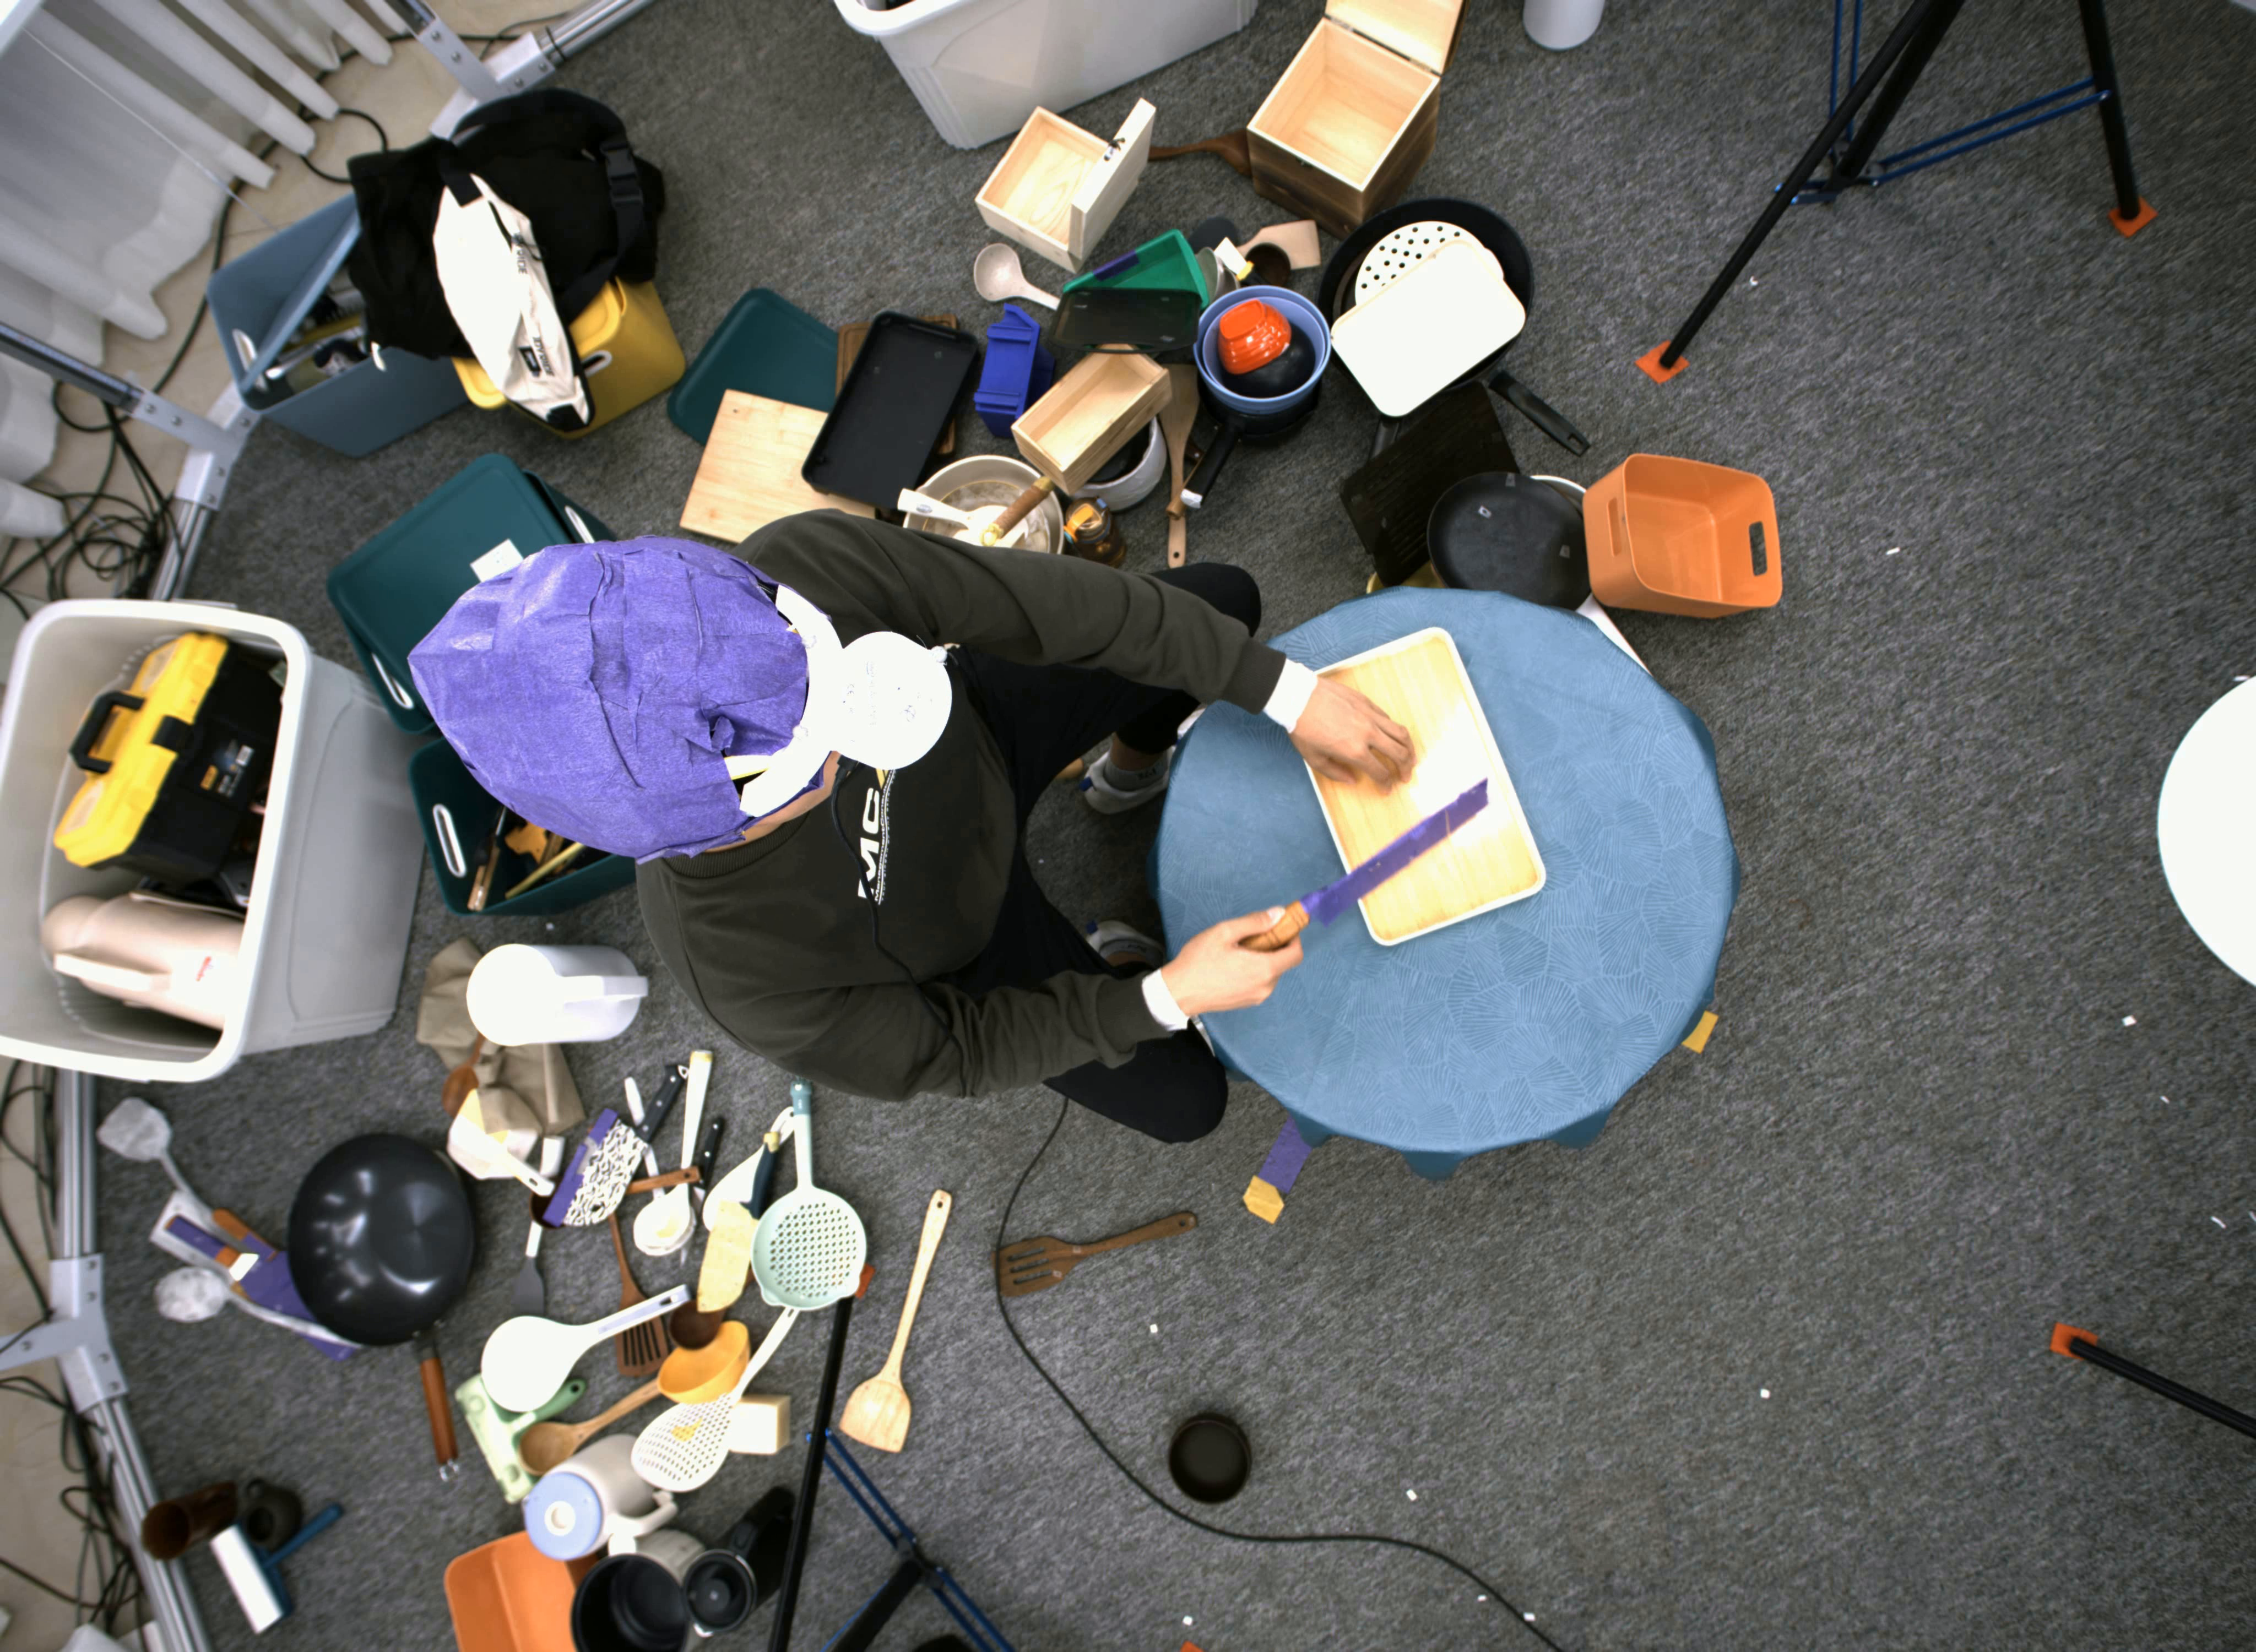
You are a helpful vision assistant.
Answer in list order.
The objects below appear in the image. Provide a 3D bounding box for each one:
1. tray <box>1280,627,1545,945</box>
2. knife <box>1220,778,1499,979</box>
[{"bbox_3d":[0.296,-0.044,1.448,0.193,0.027,0.298,-21,83,10],"label":"tray"},{"bbox_3d":[0.233,0.059,1.349,0.316,0.105,0.032,-33,64,3],"label":"knife"}]
